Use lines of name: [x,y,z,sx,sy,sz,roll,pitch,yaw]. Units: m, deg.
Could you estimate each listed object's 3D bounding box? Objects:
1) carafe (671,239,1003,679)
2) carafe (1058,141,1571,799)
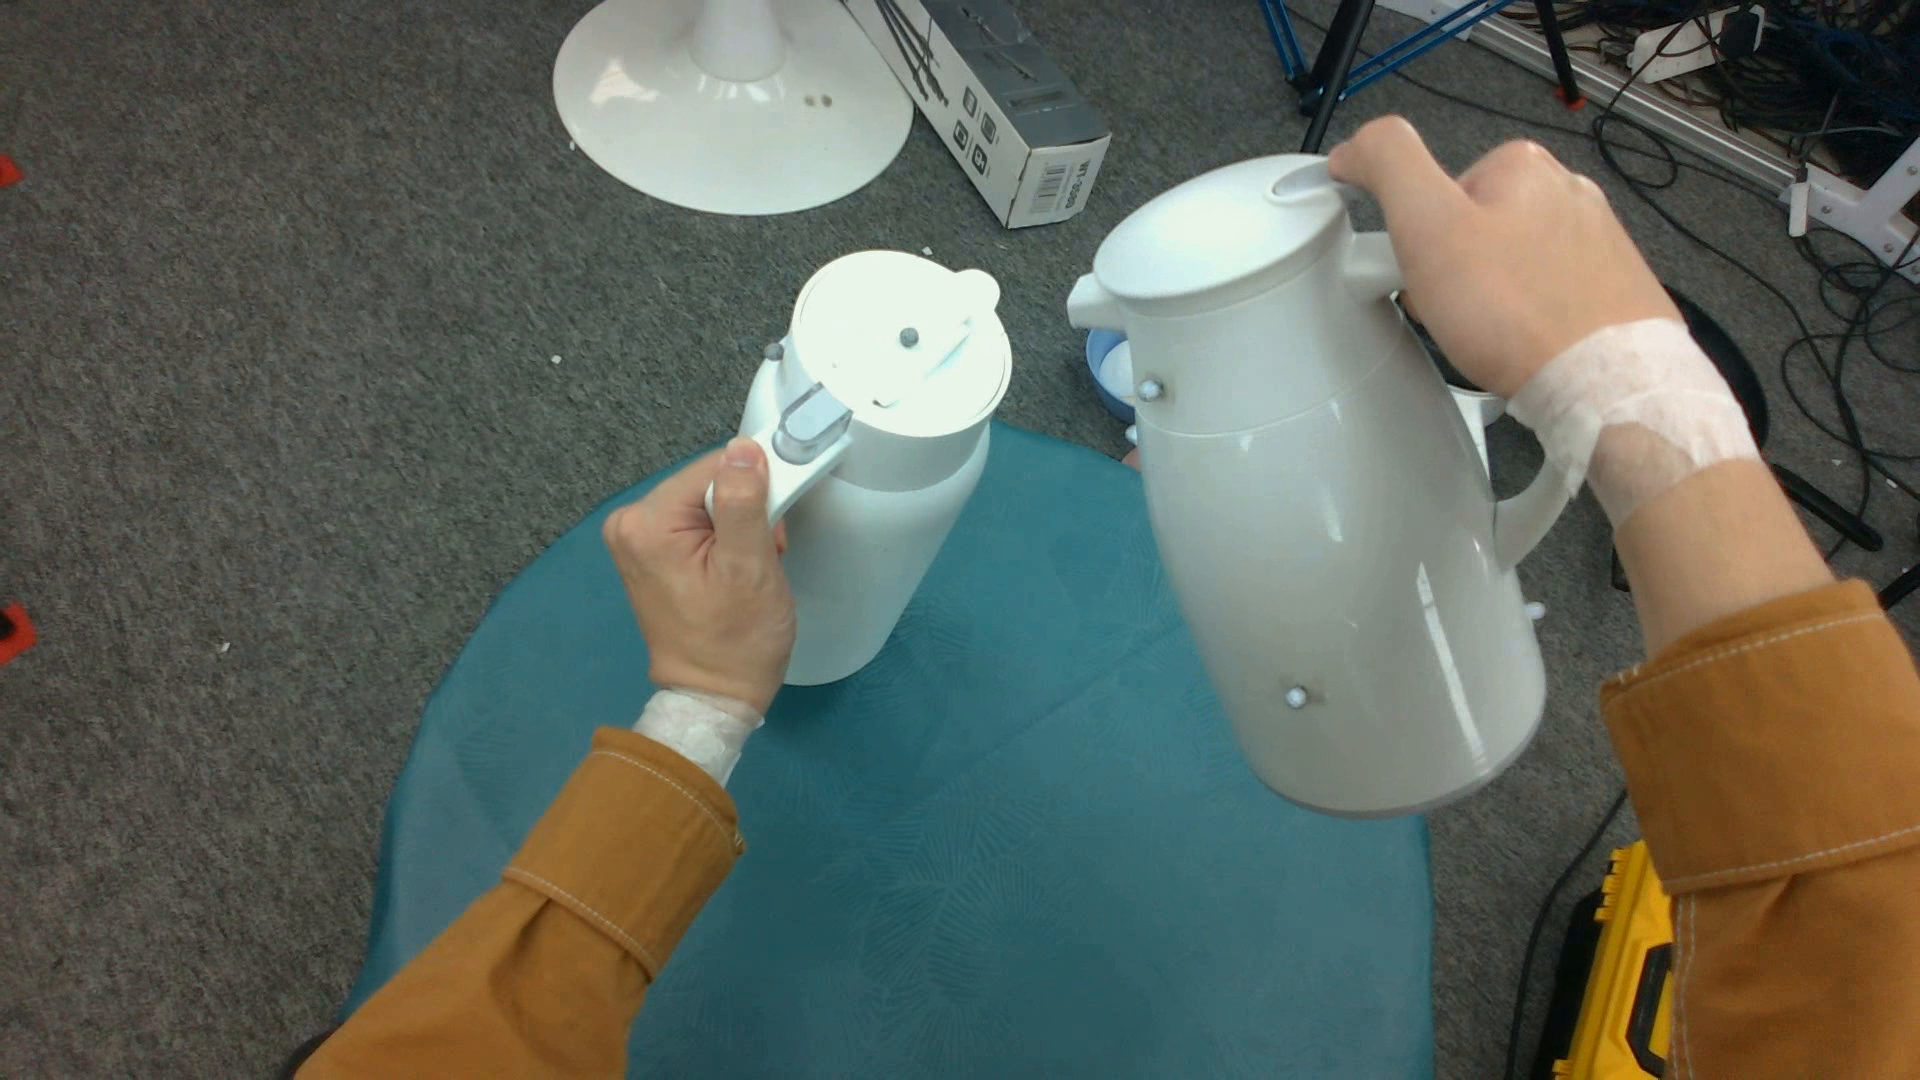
carafe: [-0.075,-0.019,0.695,0.124,0.267,0.173,42,57,4]
carafe: [0.150,-0.032,0.534,0.167,0.248,0.133,-8,36,29]
